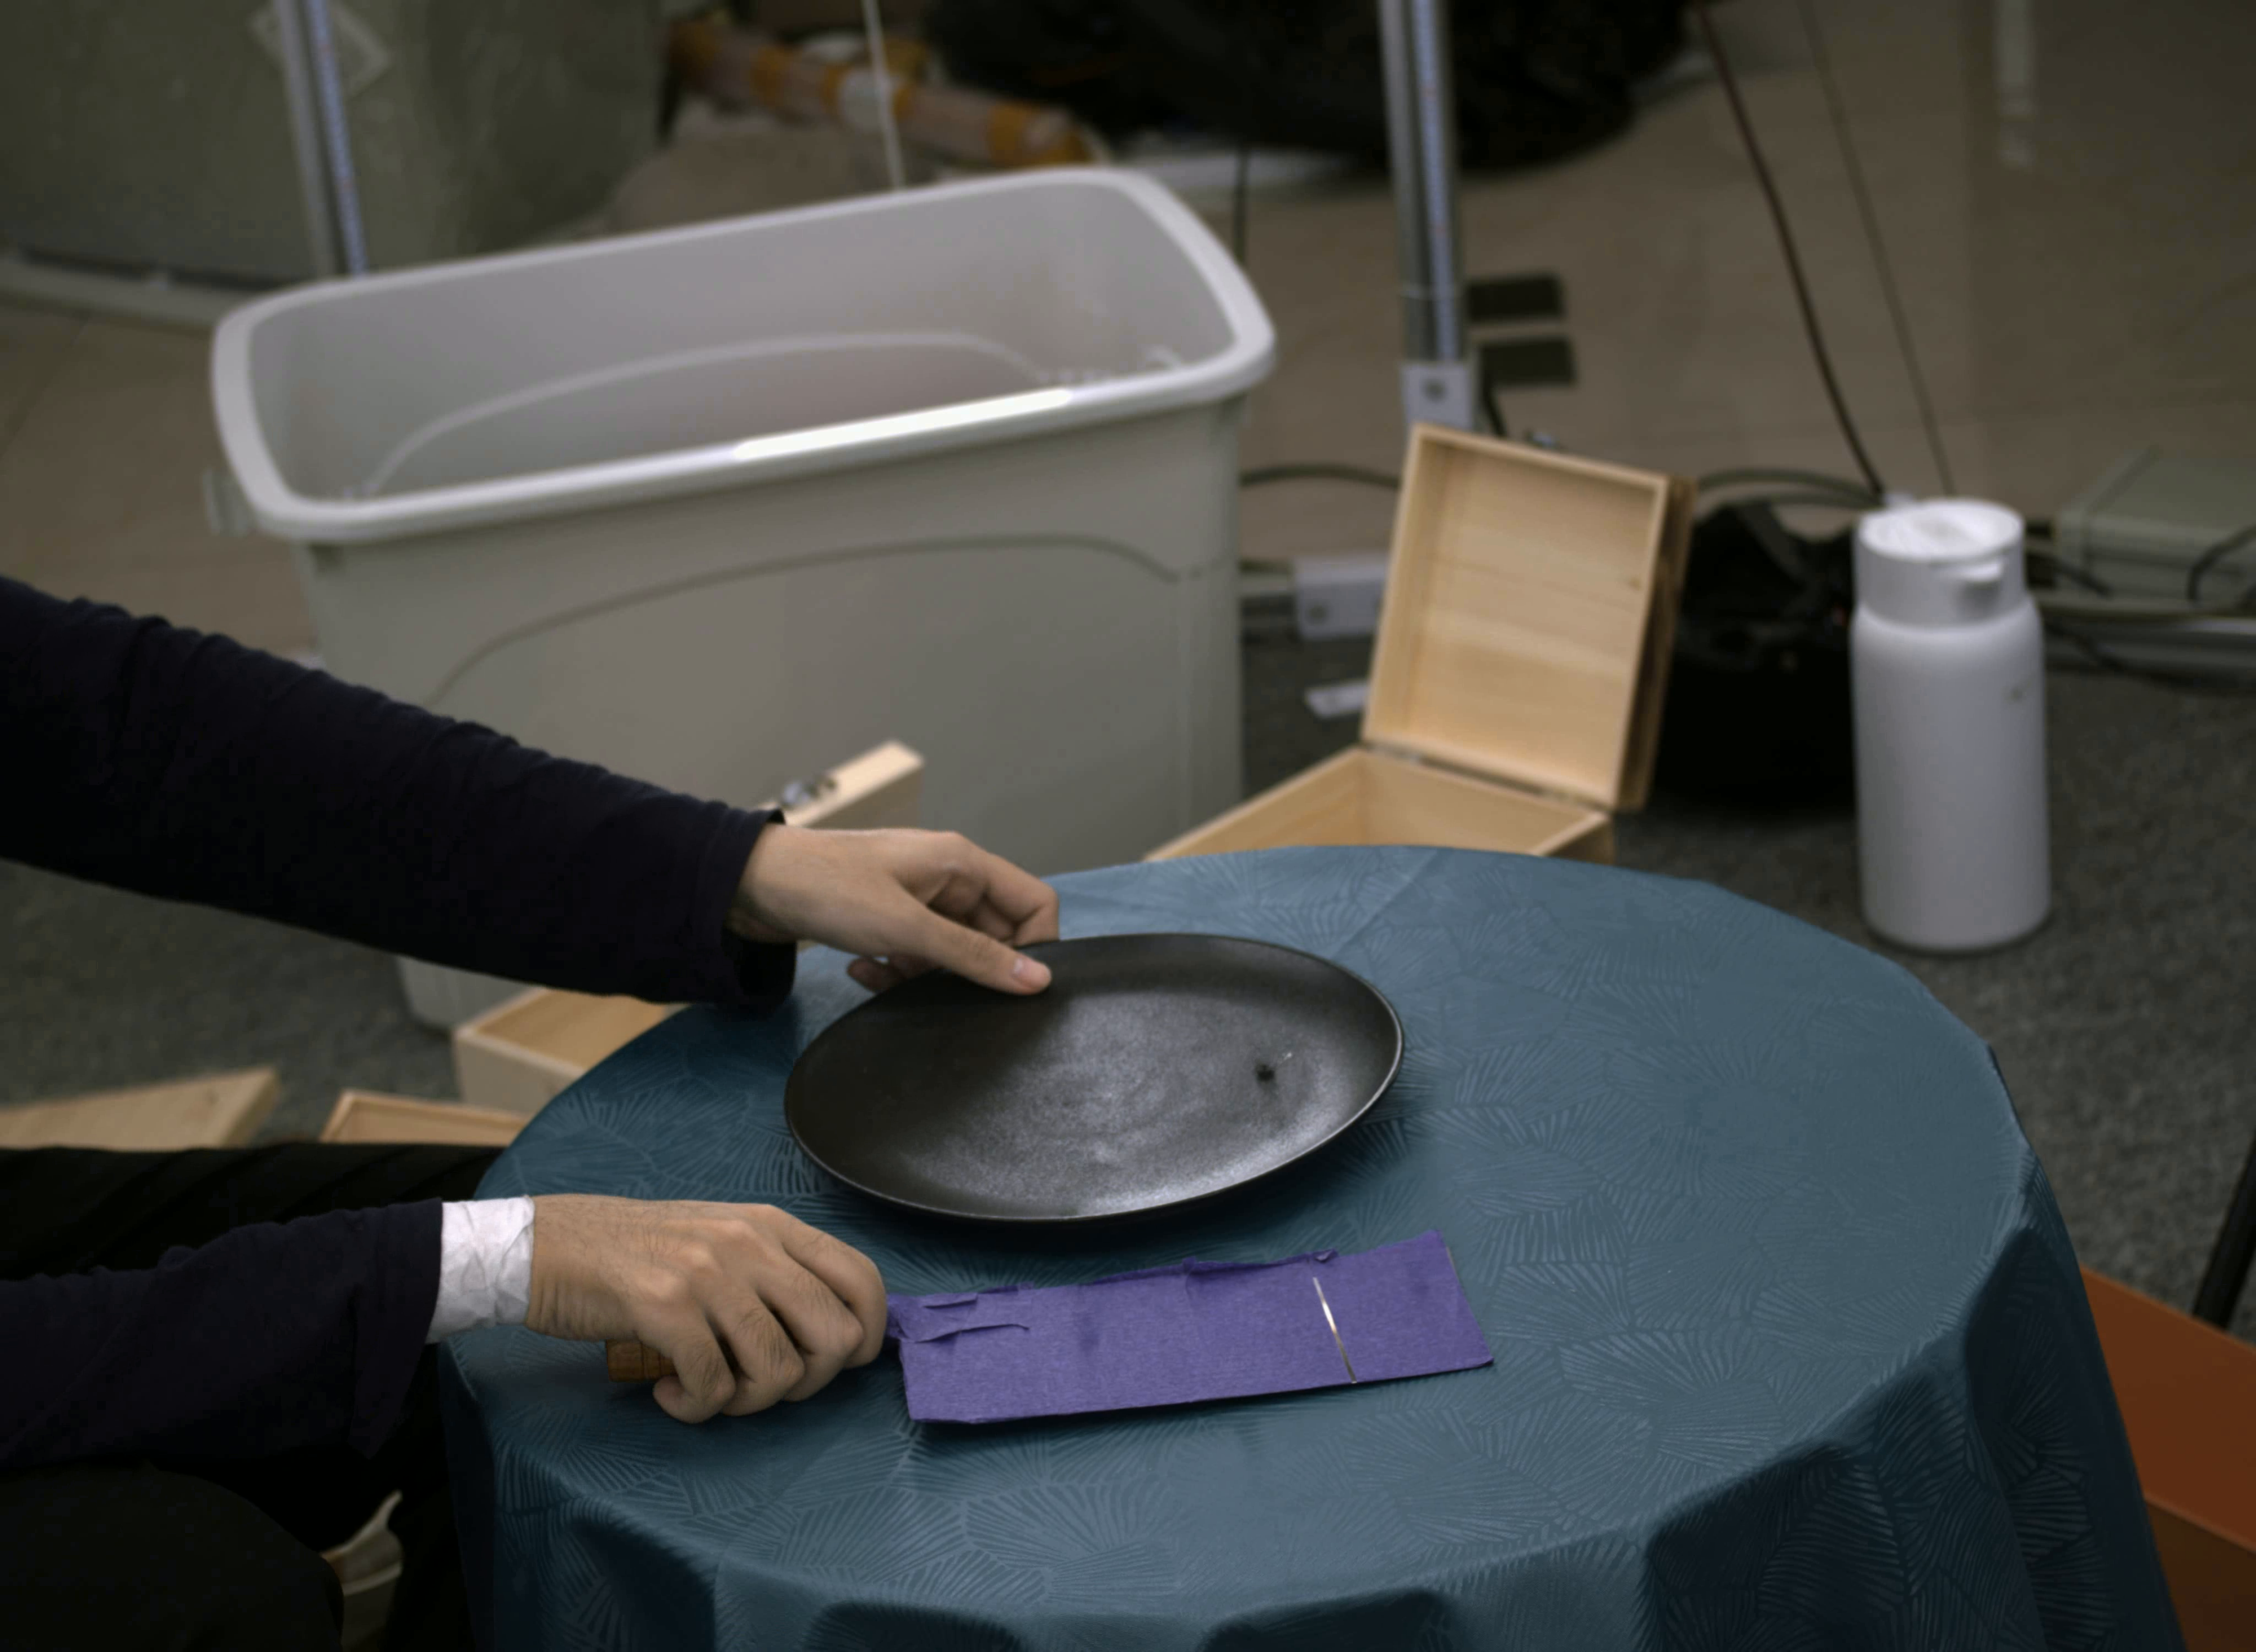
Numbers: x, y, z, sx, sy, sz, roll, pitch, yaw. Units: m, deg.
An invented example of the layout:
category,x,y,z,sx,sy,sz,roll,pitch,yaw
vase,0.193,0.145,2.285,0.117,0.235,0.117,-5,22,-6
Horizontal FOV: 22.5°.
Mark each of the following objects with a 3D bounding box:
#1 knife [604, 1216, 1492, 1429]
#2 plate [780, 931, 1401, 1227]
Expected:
category,x,y,z,sx,sy,sz,roll,pitch,yaw
knife,-0.030,0.182,2.033,0.314,0.033,0.102,-8,25,-4
plate,-0.014,0.103,2.205,0.244,0.024,0.241,-5,25,3
